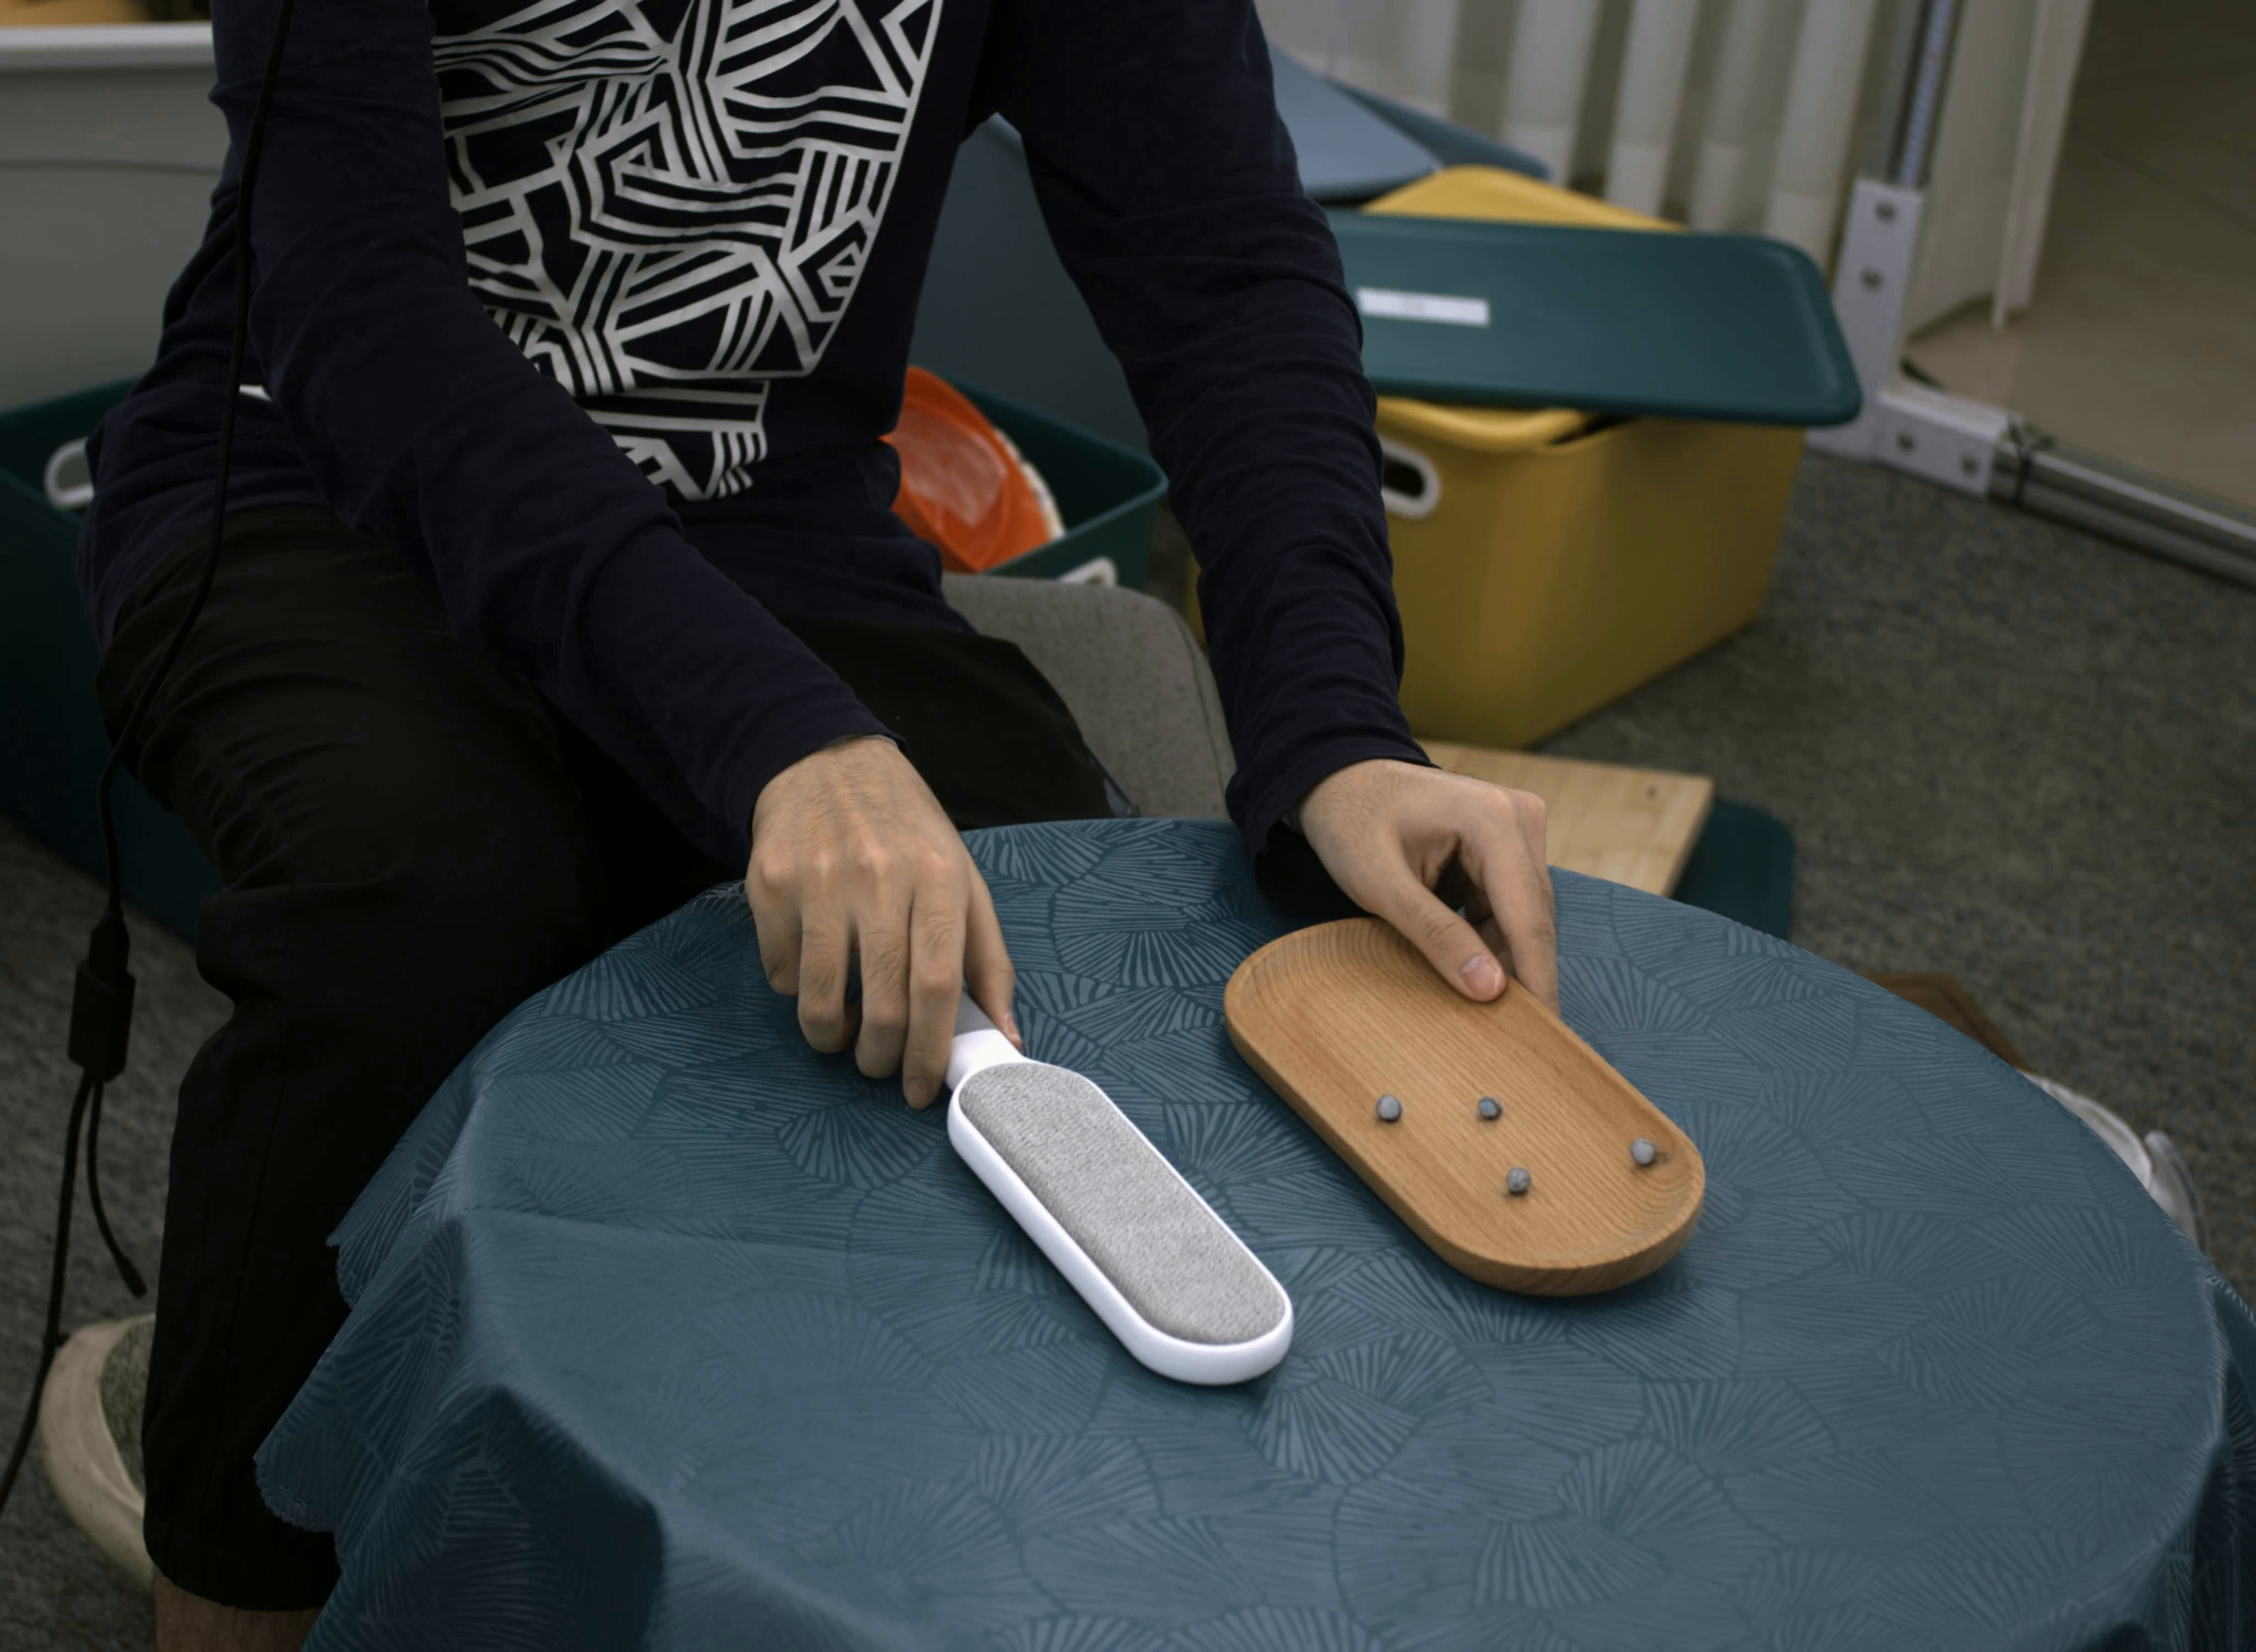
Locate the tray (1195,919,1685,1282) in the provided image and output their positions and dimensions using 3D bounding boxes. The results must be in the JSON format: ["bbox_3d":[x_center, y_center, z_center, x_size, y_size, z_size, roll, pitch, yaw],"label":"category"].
[{"bbox_3d":[0.106,0.093,1.852,0.101,0.020,0.233,-16,32,-24],"label":"tray"}]

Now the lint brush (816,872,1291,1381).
[{"bbox_3d":[-0.033,0.097,1.810,0.060,0.021,0.312,-16,36,-23],"label":"lint brush"}]
